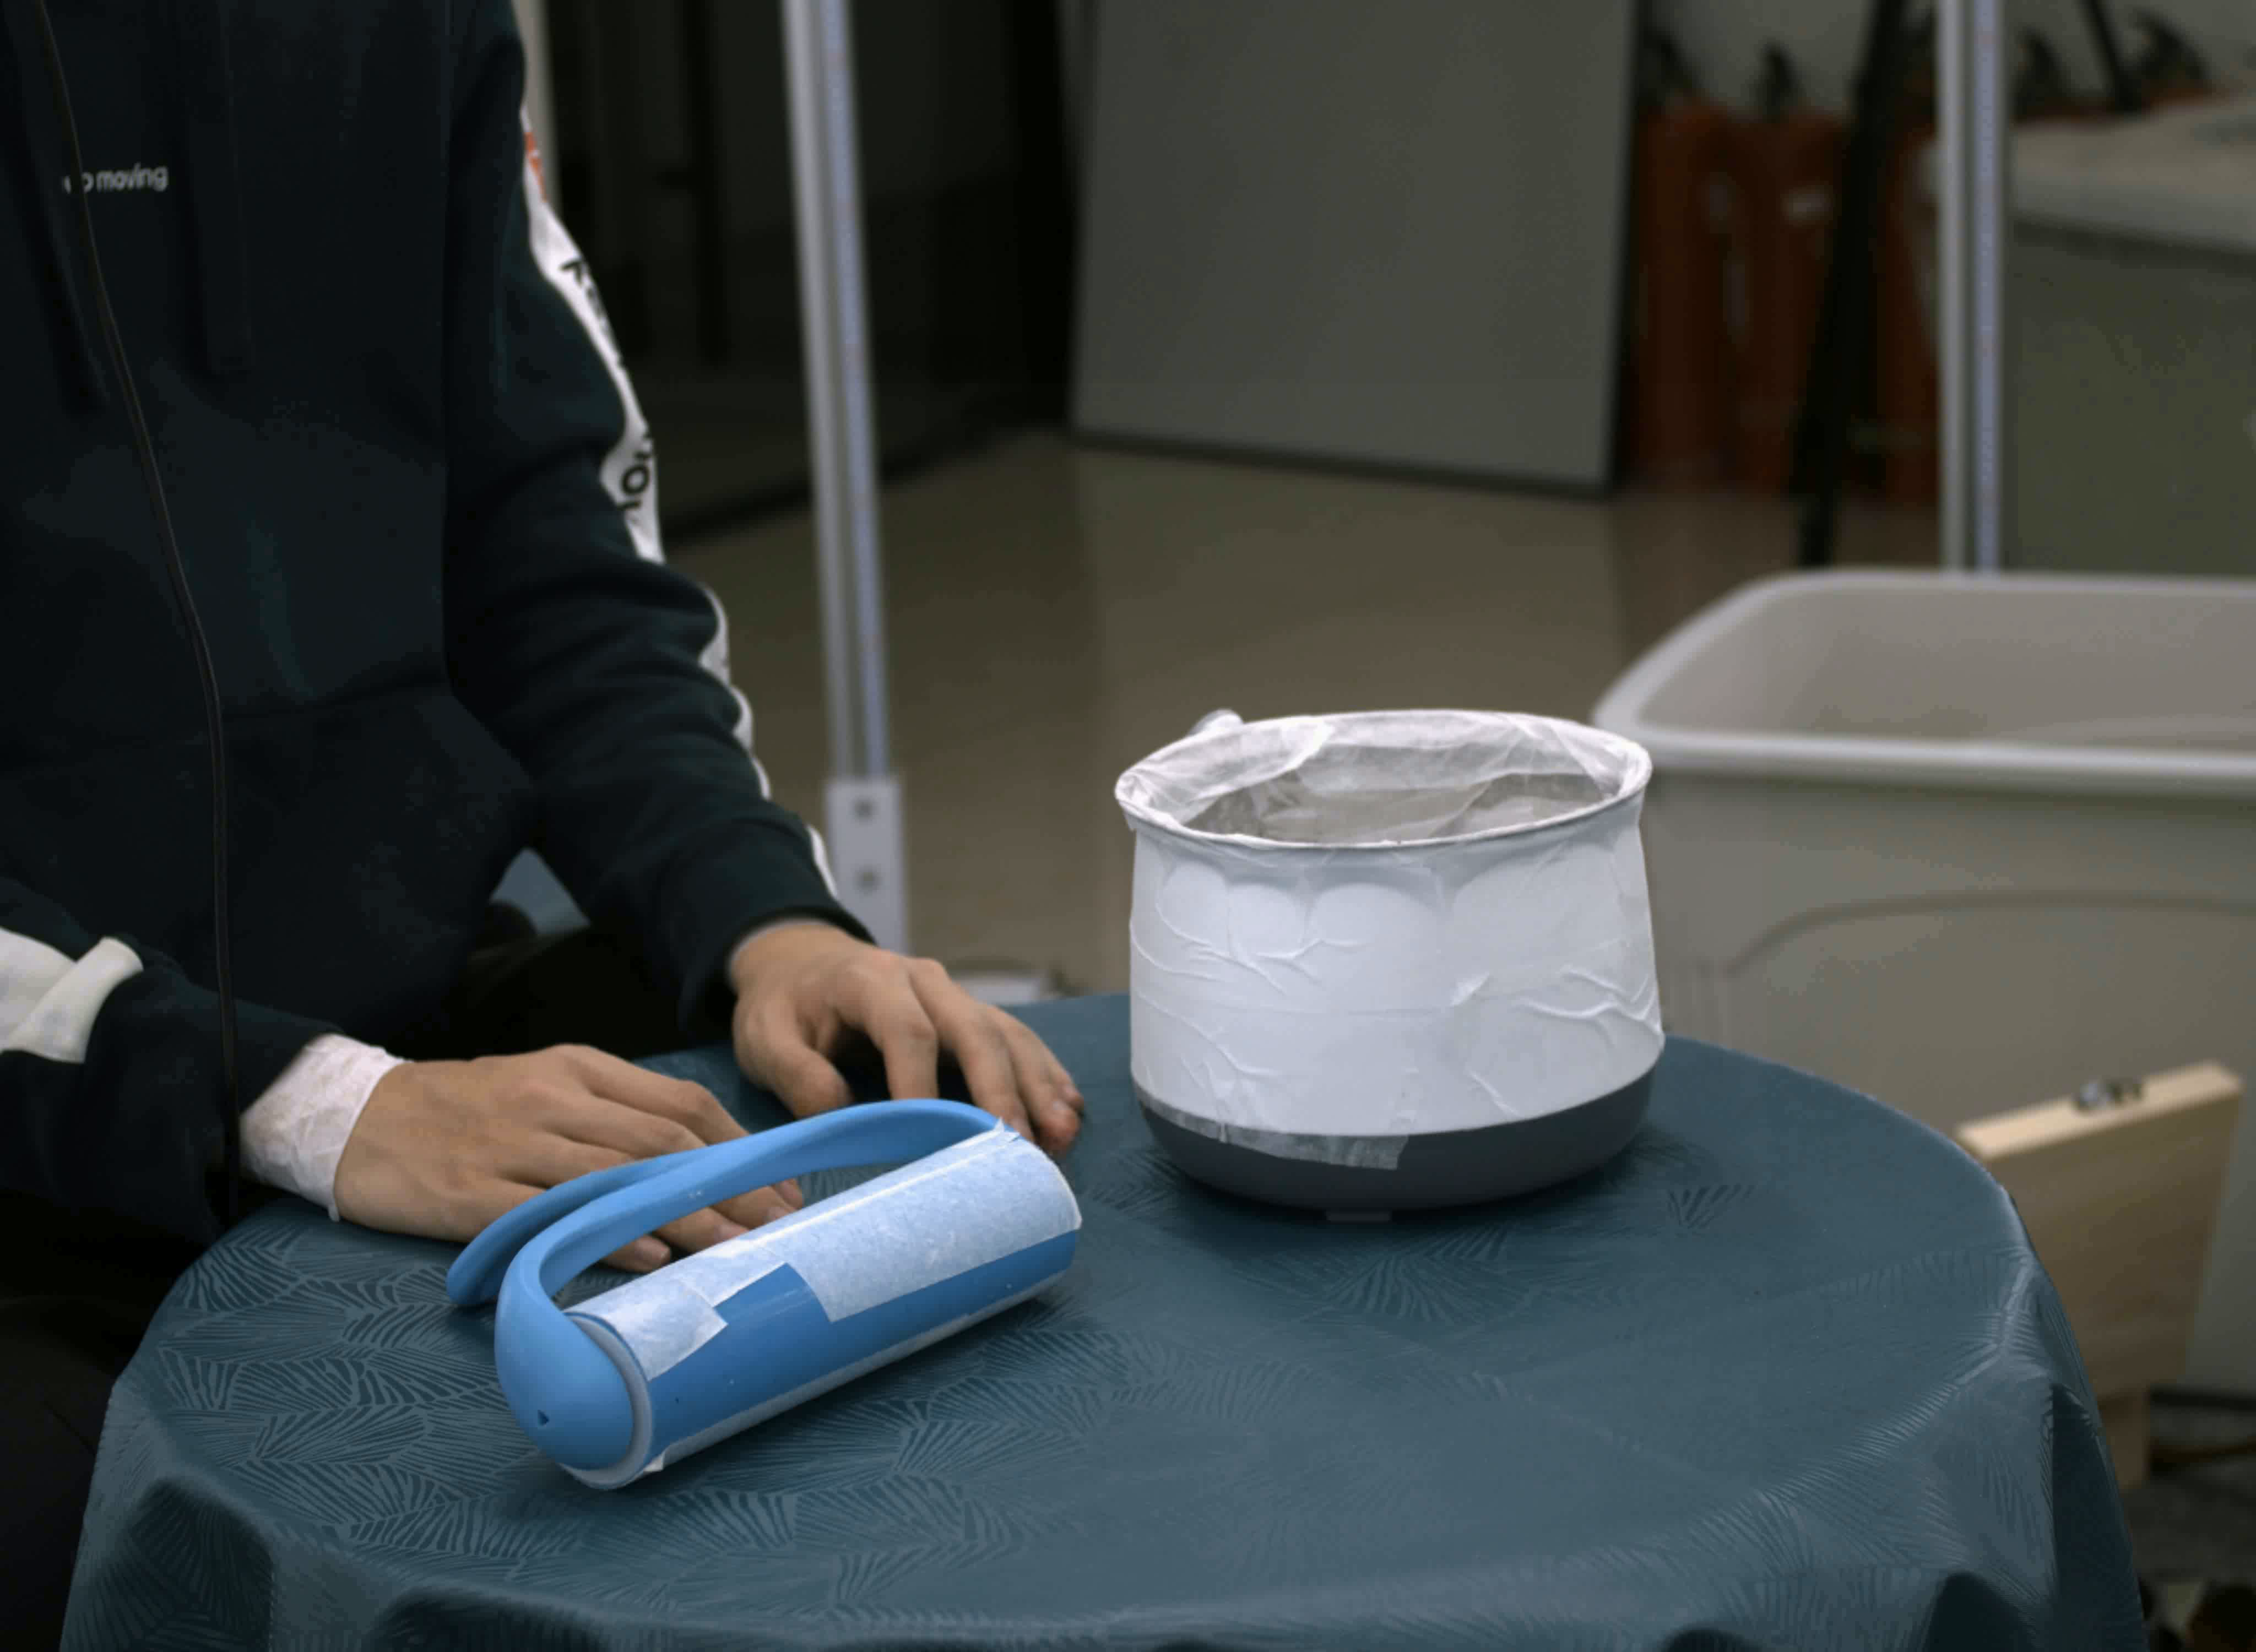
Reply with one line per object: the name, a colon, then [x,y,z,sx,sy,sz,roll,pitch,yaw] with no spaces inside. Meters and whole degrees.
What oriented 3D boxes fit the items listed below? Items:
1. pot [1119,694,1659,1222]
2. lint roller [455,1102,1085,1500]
pot: [0.072,0.037,1.794,0.175,0.138,0.236,-11,17,-30]
lint roller: [-0.138,0.136,1.636,0.181,0.068,0.225,7,19,35]
